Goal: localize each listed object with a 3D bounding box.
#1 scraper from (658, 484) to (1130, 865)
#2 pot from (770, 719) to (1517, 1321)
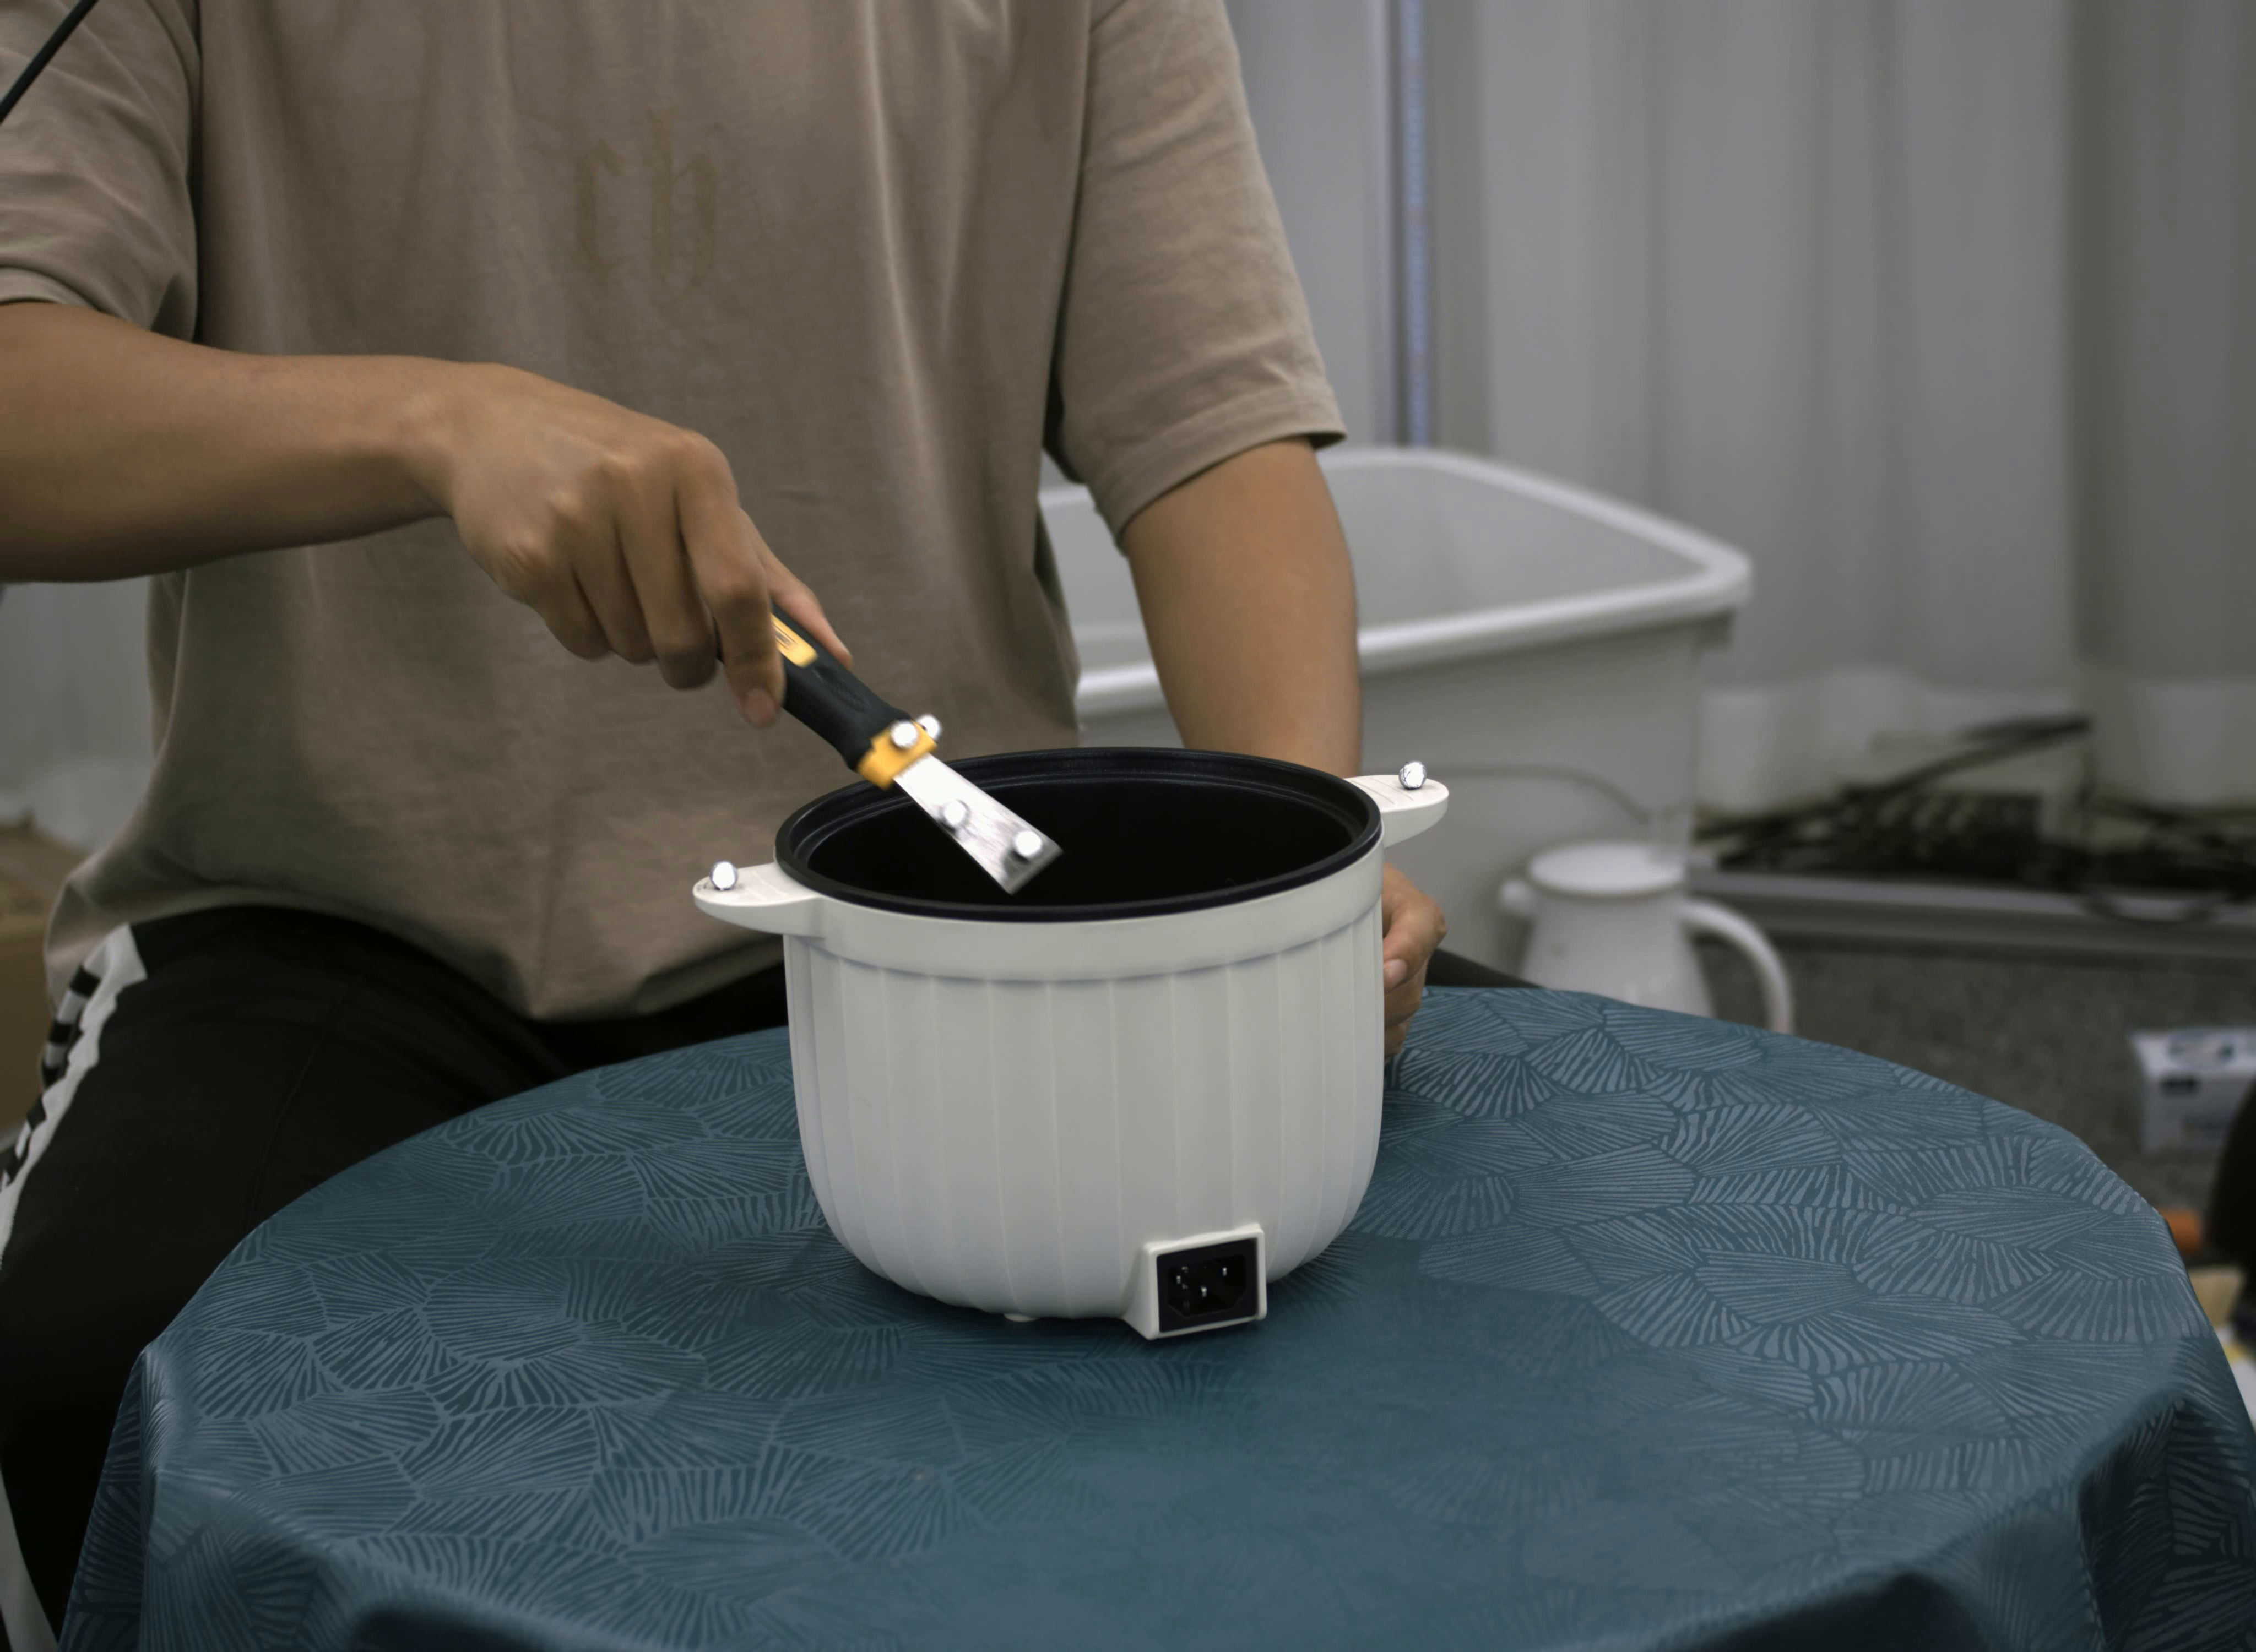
[{"bbox_3d":[-0.074,-0.047,1.662,0.171,0.015,0.039,38,42,8],"label":"scraper"},{"bbox_3d":[0.006,0.056,1.648,0.239,0.142,0.192,-8,19,-22],"label":"pot"}]
